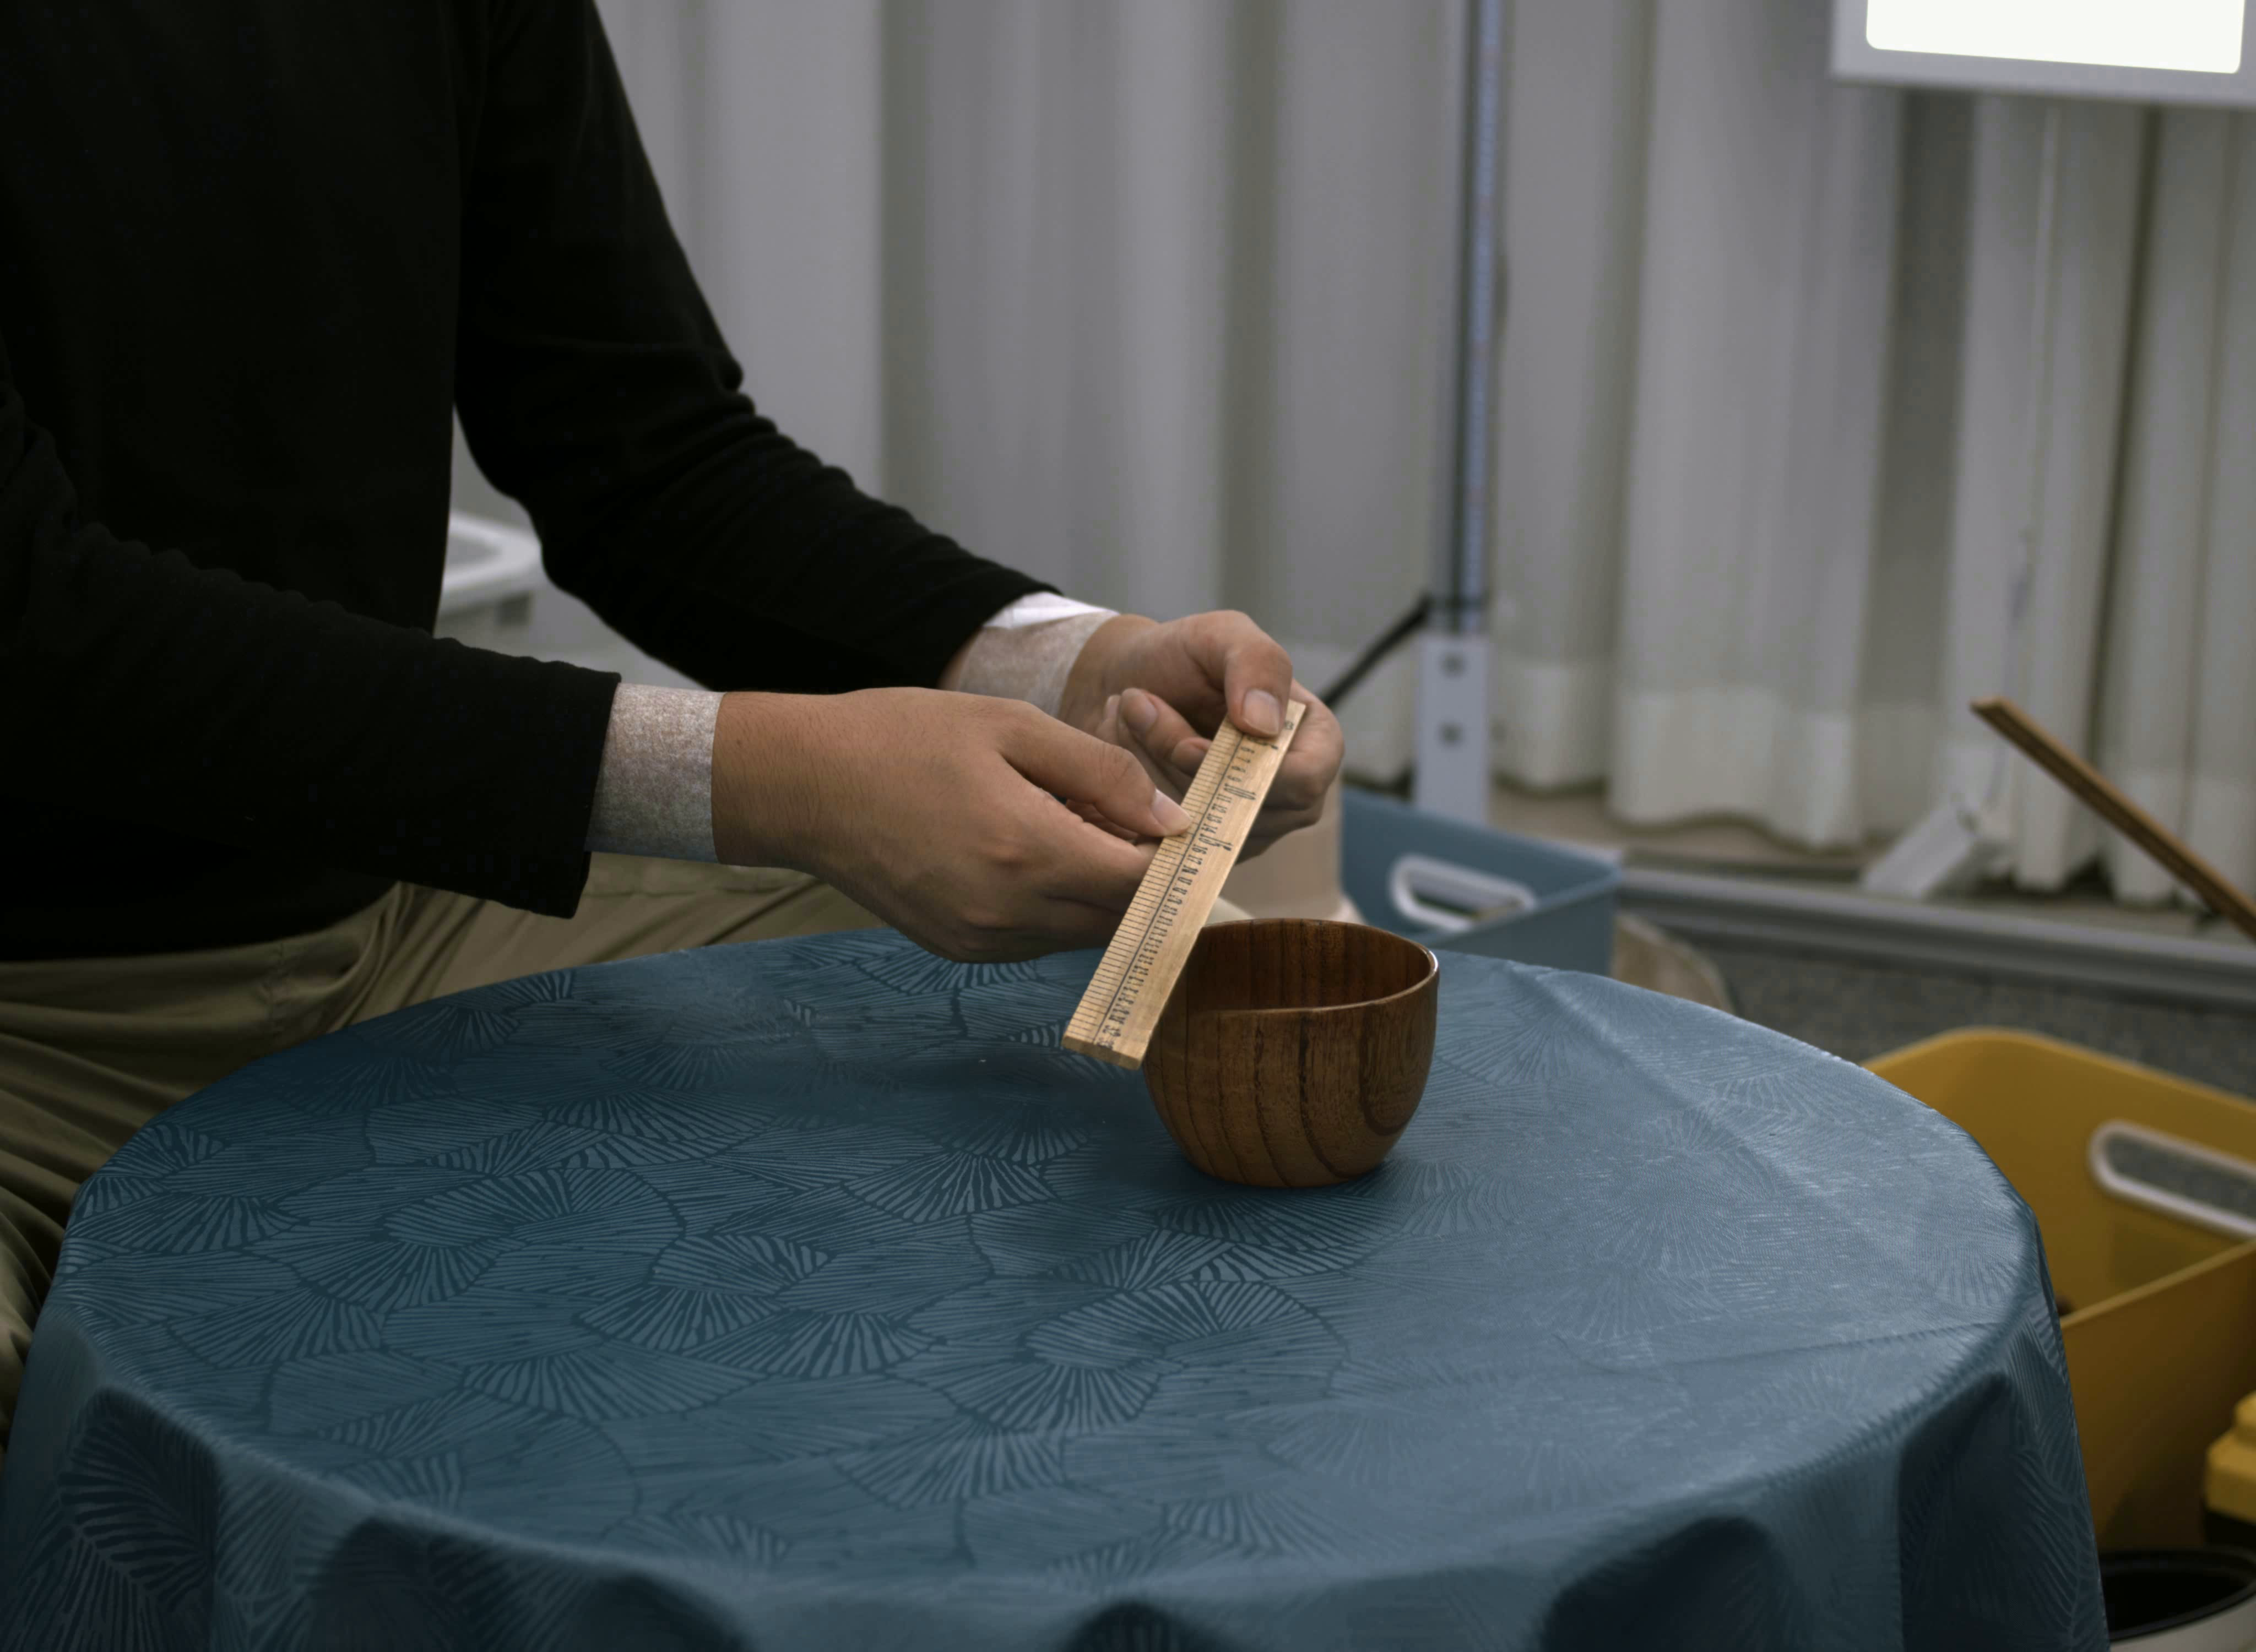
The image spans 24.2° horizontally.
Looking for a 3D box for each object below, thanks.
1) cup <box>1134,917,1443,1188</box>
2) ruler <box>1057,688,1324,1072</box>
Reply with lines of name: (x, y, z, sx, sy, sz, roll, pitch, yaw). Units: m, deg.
cup: (0.042, 0.071, 1.652, 0.118, 0.068, 0.096, 13, 22, 42)
ruler: (0.024, 0.009, 1.700, 0.027, 0.022, 0.331, 23, 23, 4)
